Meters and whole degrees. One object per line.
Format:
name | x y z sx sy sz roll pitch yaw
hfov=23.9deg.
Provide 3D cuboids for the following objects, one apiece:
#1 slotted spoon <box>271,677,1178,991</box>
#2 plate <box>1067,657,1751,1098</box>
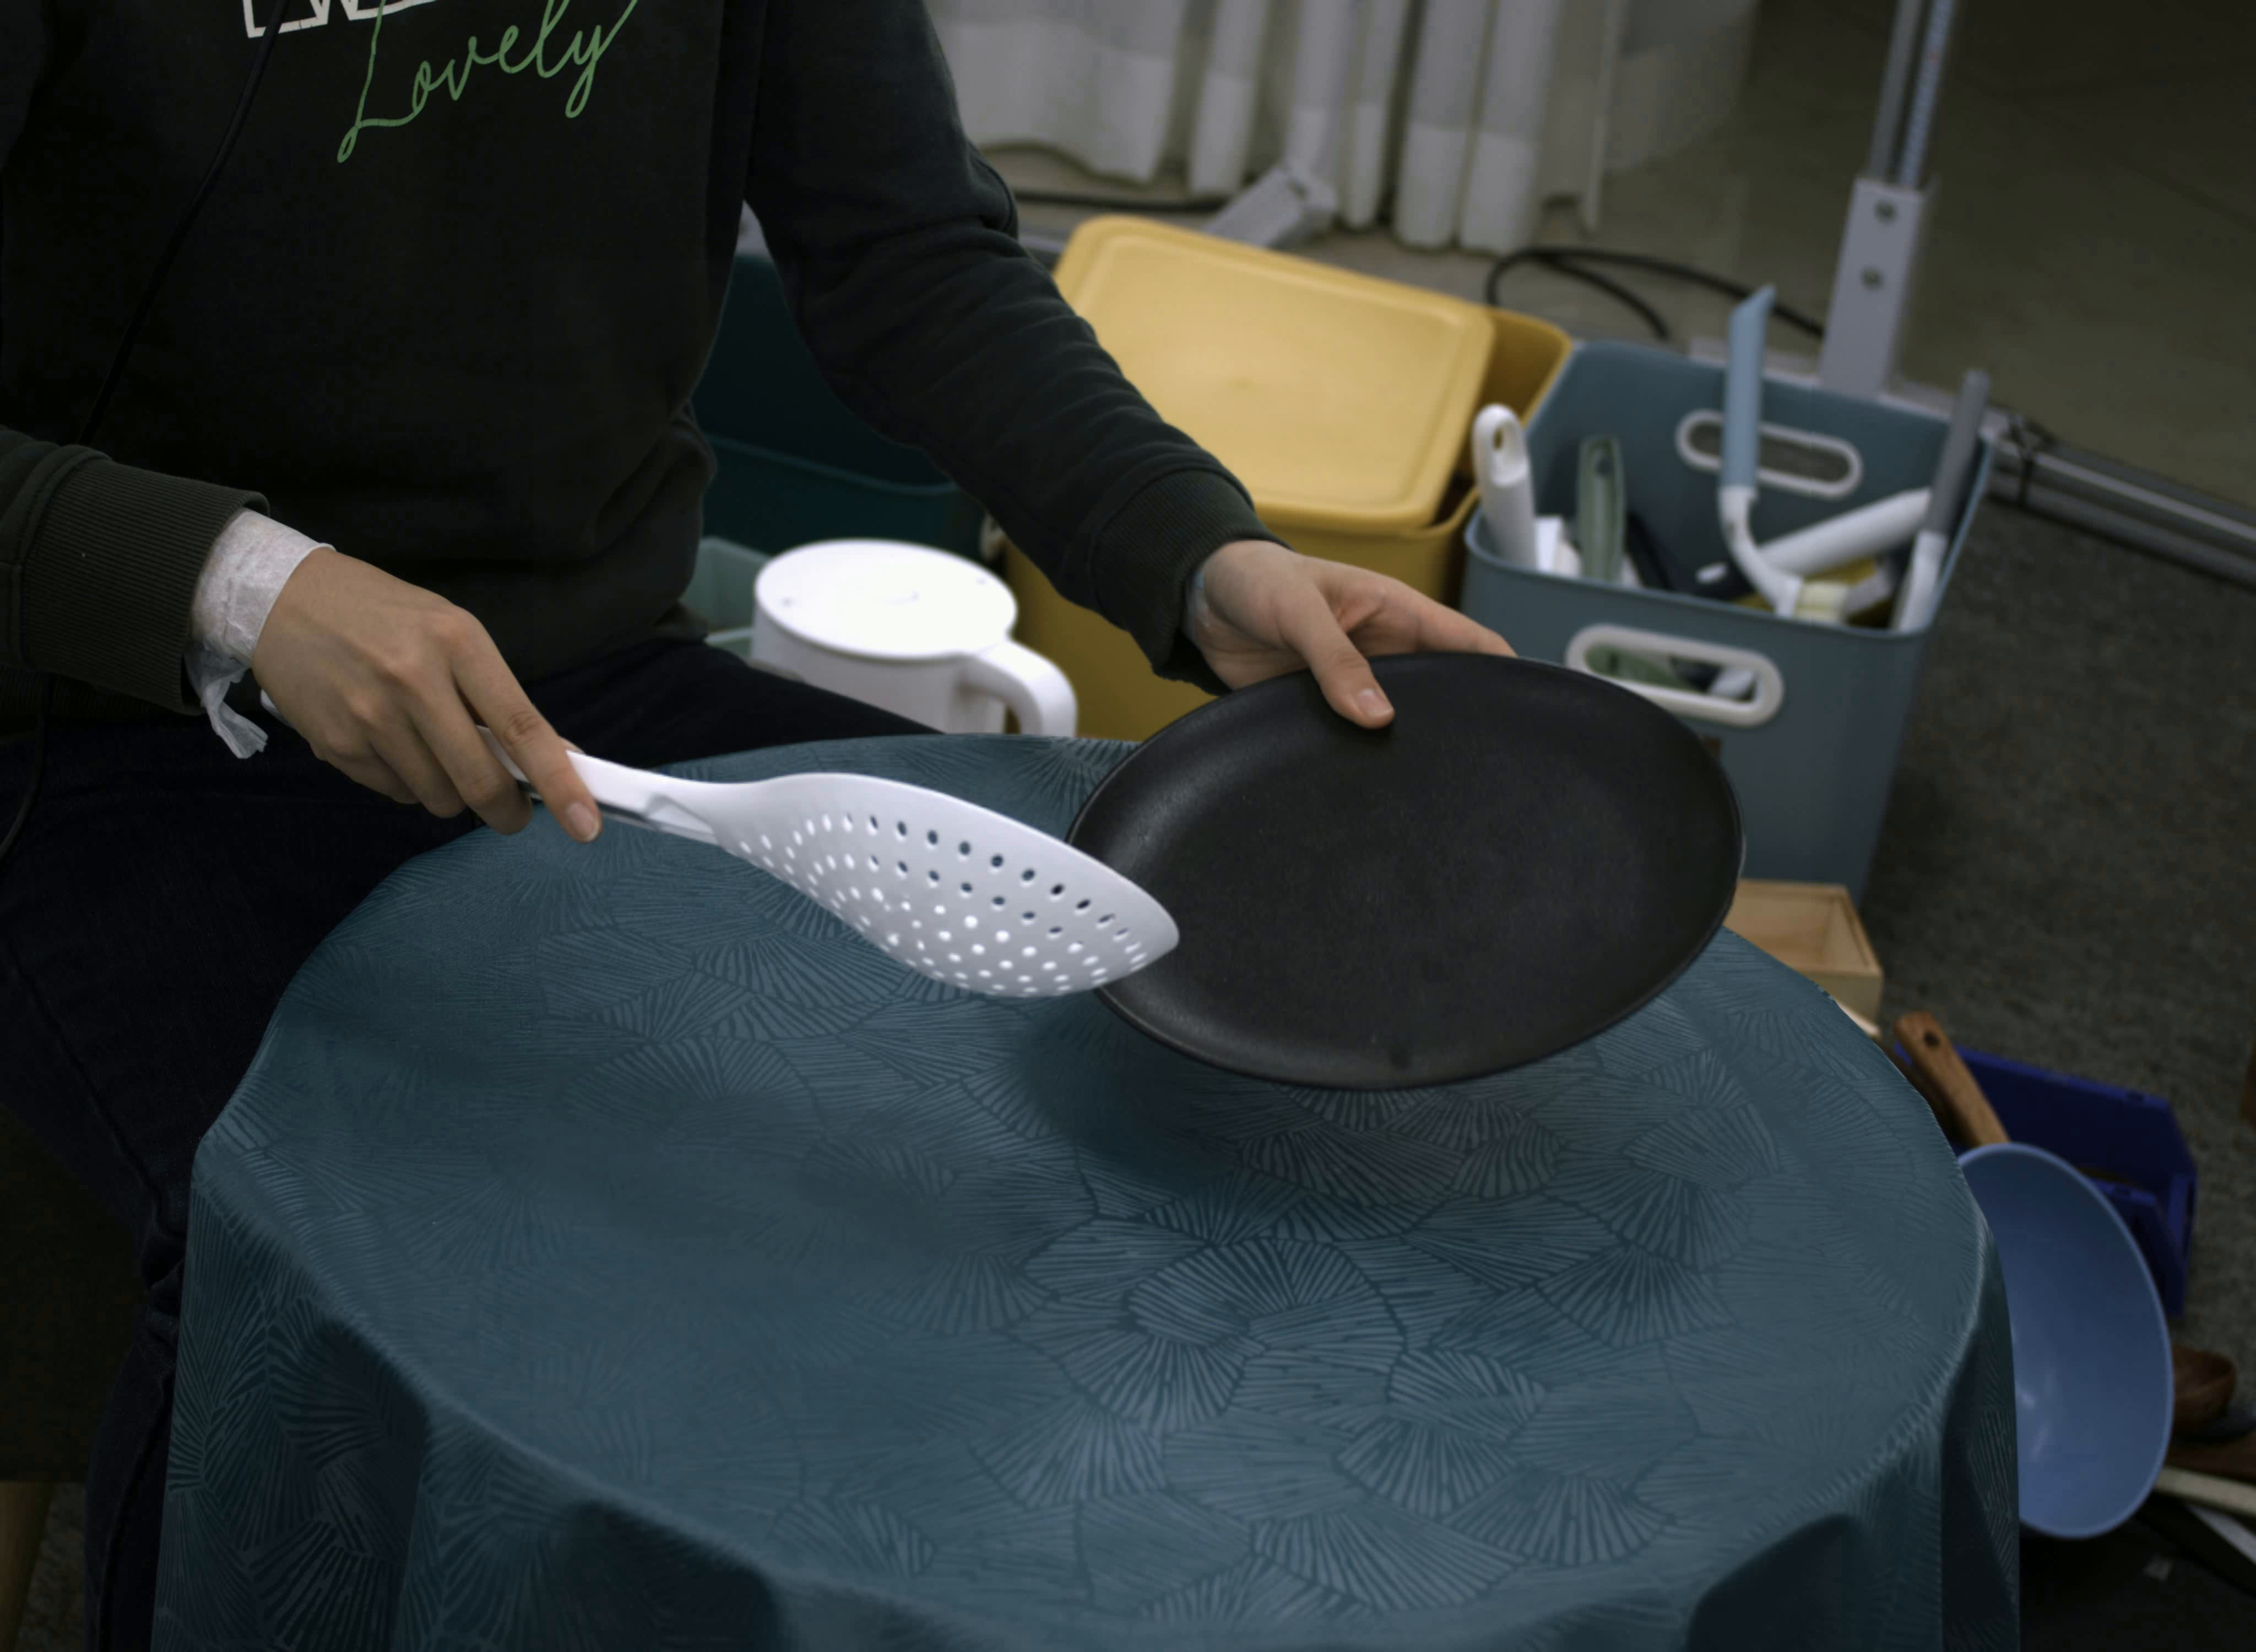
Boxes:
slotted spoon | -0.143 -0.006 1.773 0.351 0.046 0.135 19 -16 29
plate | 0.097 0.021 1.862 0.244 0.023 0.246 -6 37 4
